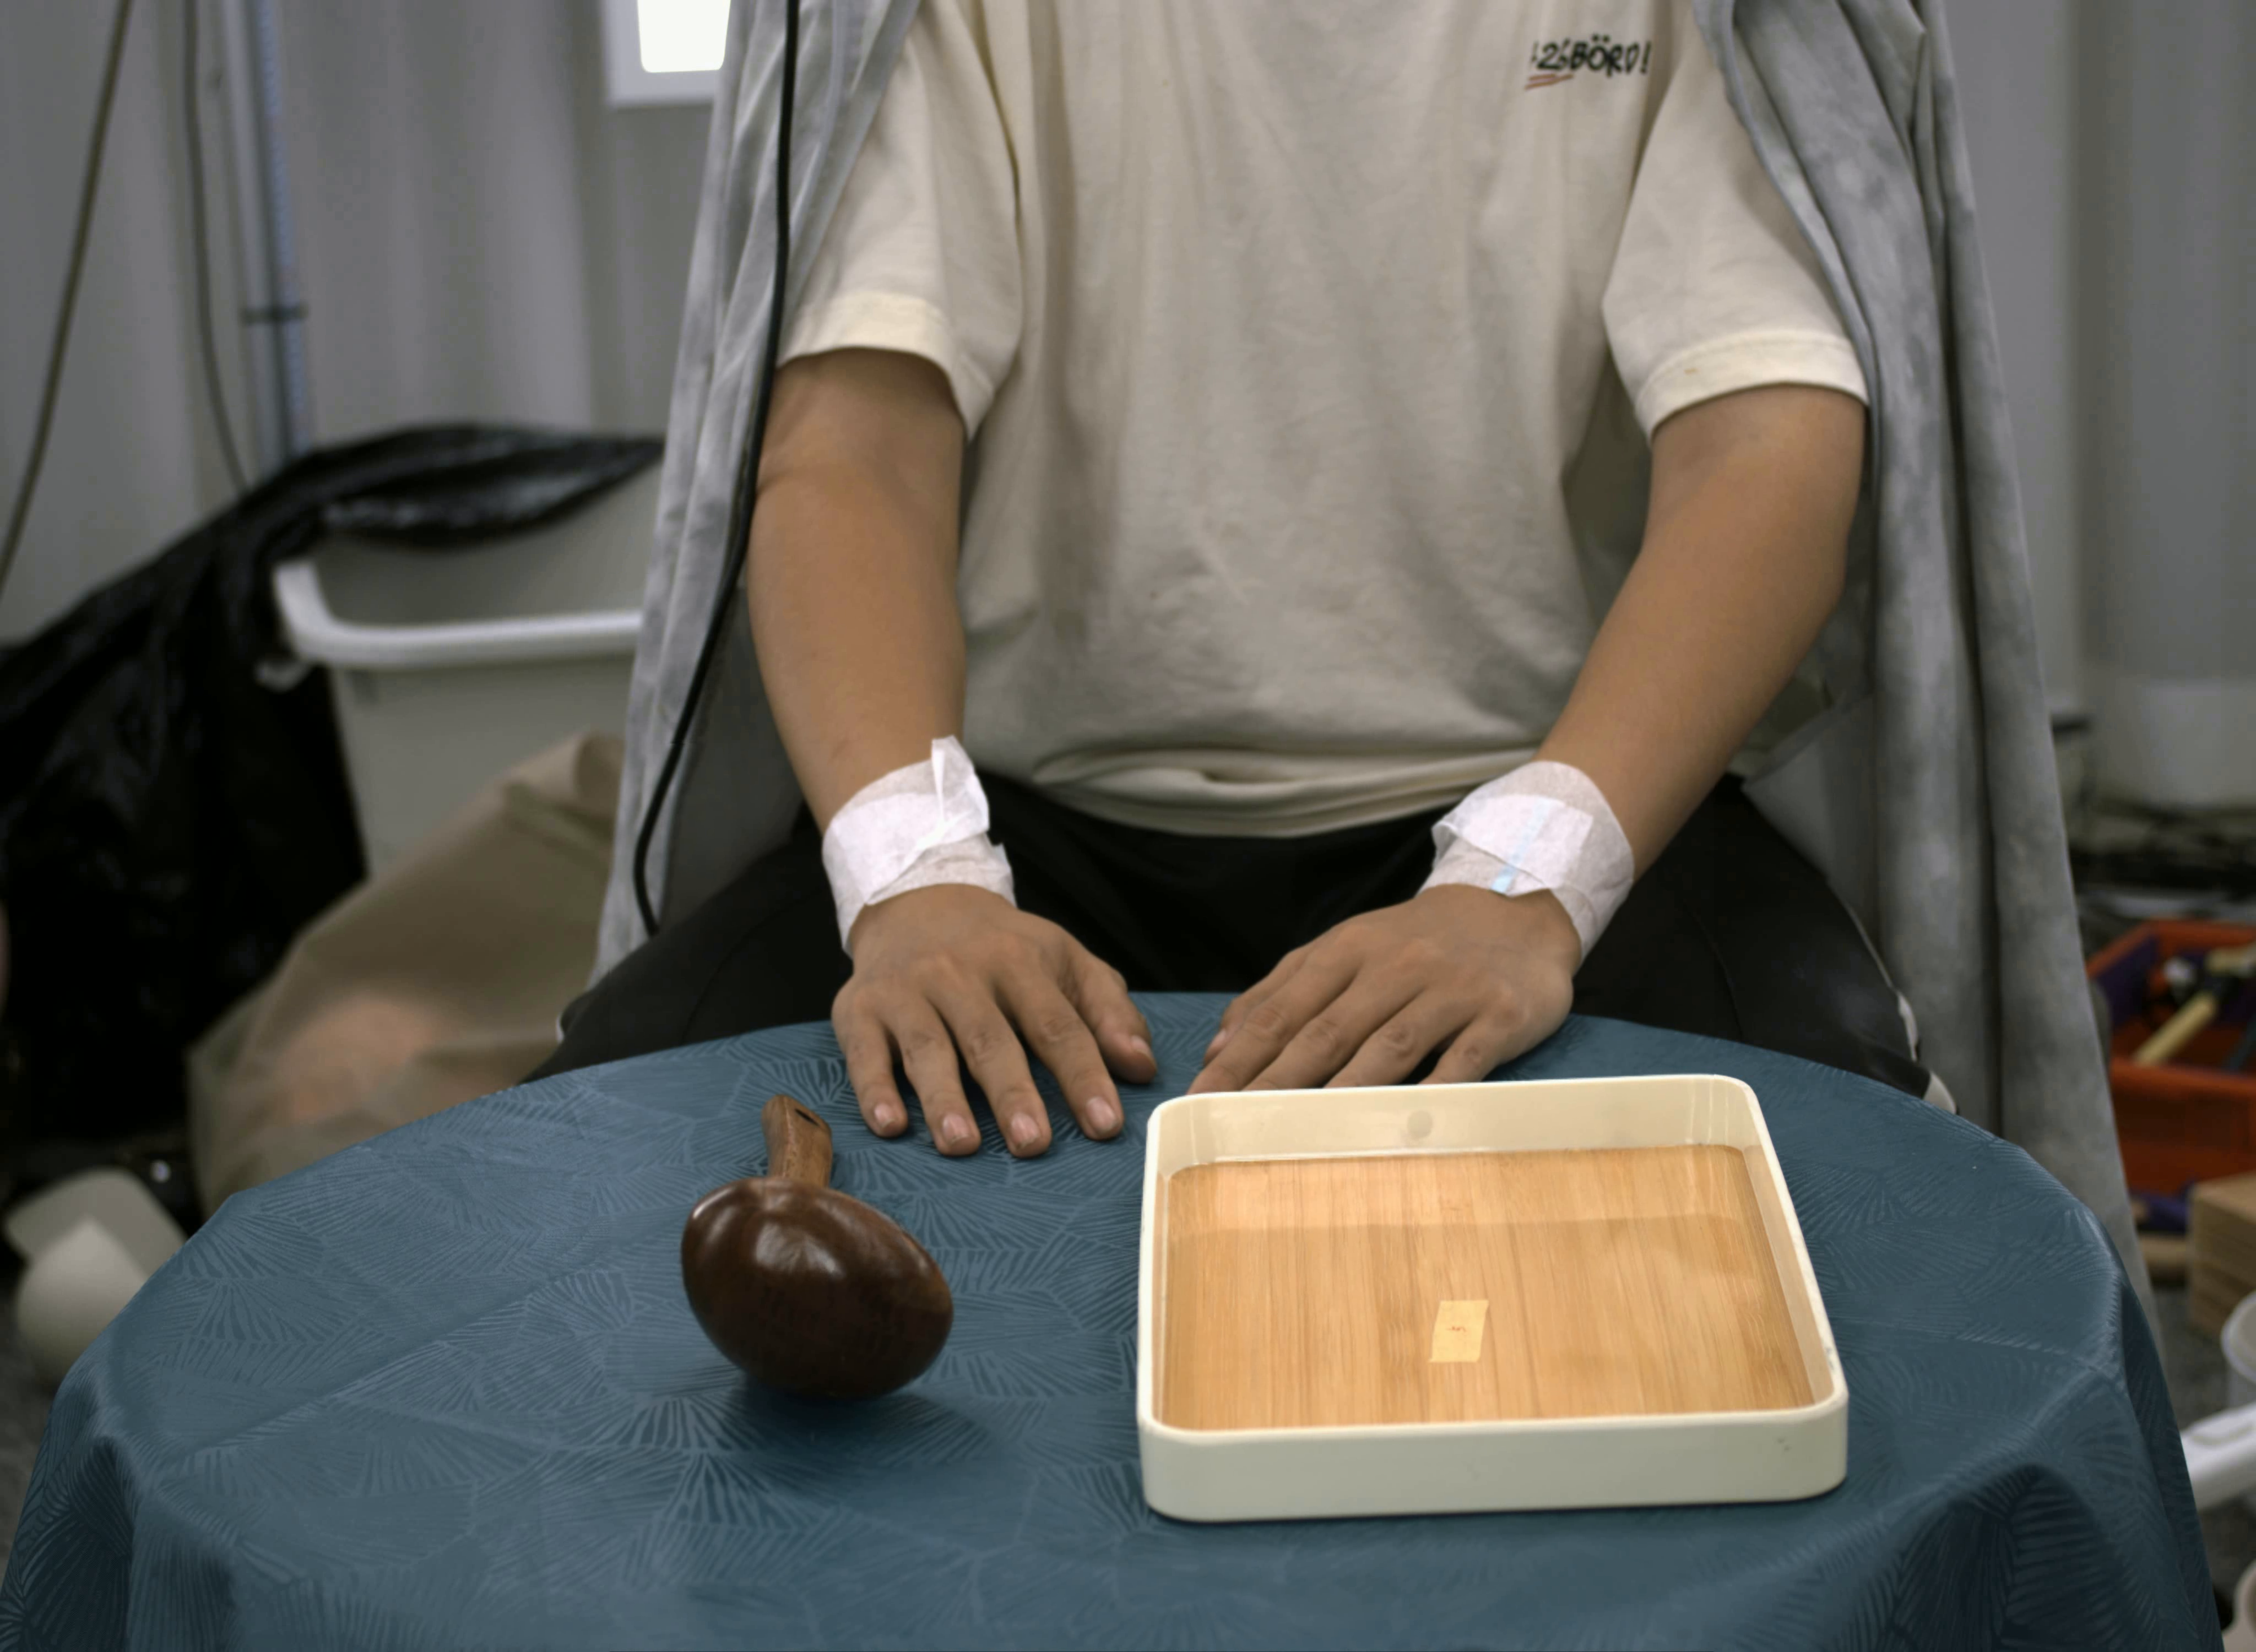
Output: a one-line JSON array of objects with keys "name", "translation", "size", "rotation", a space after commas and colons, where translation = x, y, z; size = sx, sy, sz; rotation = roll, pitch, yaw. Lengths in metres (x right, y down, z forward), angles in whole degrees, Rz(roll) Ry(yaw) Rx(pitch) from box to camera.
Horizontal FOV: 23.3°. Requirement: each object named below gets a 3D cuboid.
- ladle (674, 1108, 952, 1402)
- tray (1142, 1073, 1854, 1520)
[{"name": "ladle", "translation": [-0.089, 0.105, 1.636], "size": [0.081, 0.076, 0.276], "rotation": [35, 12, -7]}, {"name": "tray", "translation": [0.101, 0.132, 1.582], "size": [0.191, 0.027, 0.302], "rotation": [-3, 15, 2]}]
